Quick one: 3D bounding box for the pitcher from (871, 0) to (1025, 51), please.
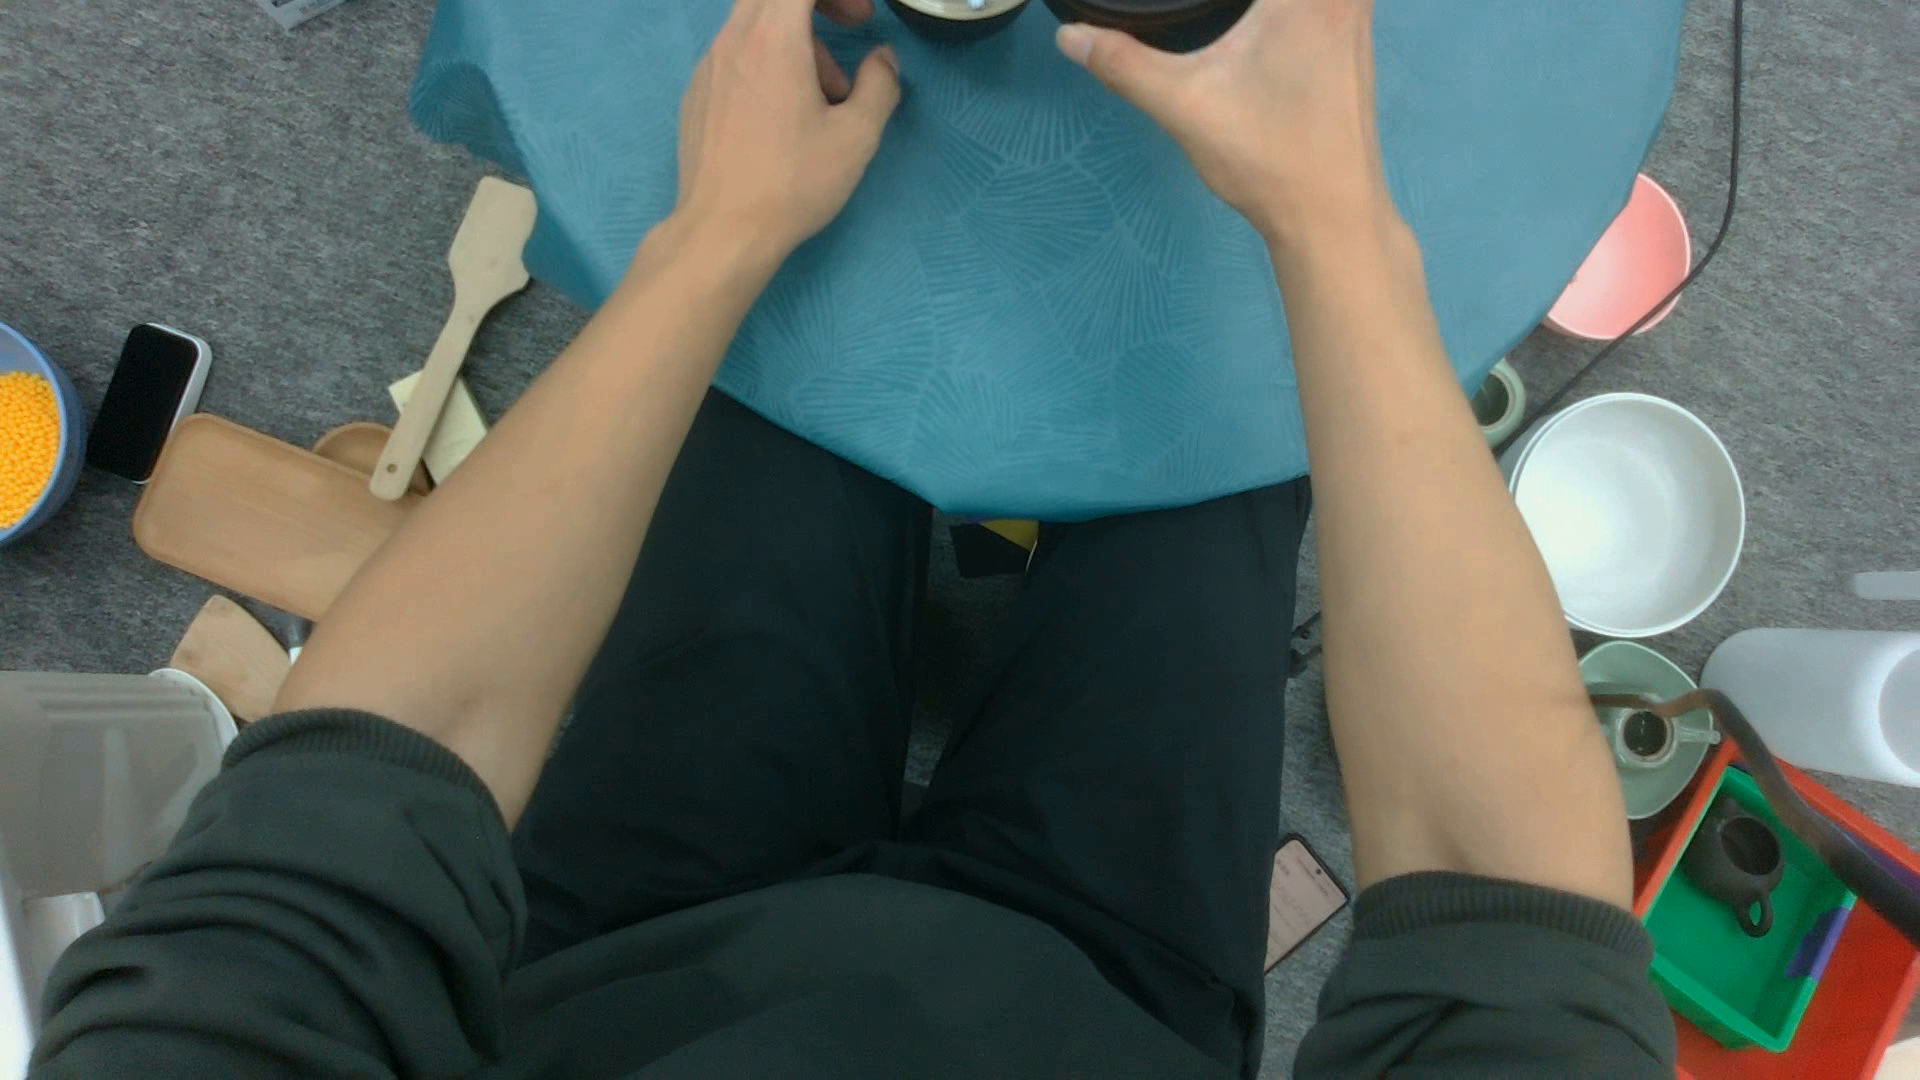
[{"bbox_3d":[-0.001,-0.265,0.635,0.096,0.071,0.084,21,85,-2],"label":"pitcher"}]

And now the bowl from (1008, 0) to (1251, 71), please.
[{"bbox_3d":[0.072,-0.249,0.565,0.118,0.070,0.118,-1,85,14],"label":"bowl"}]
